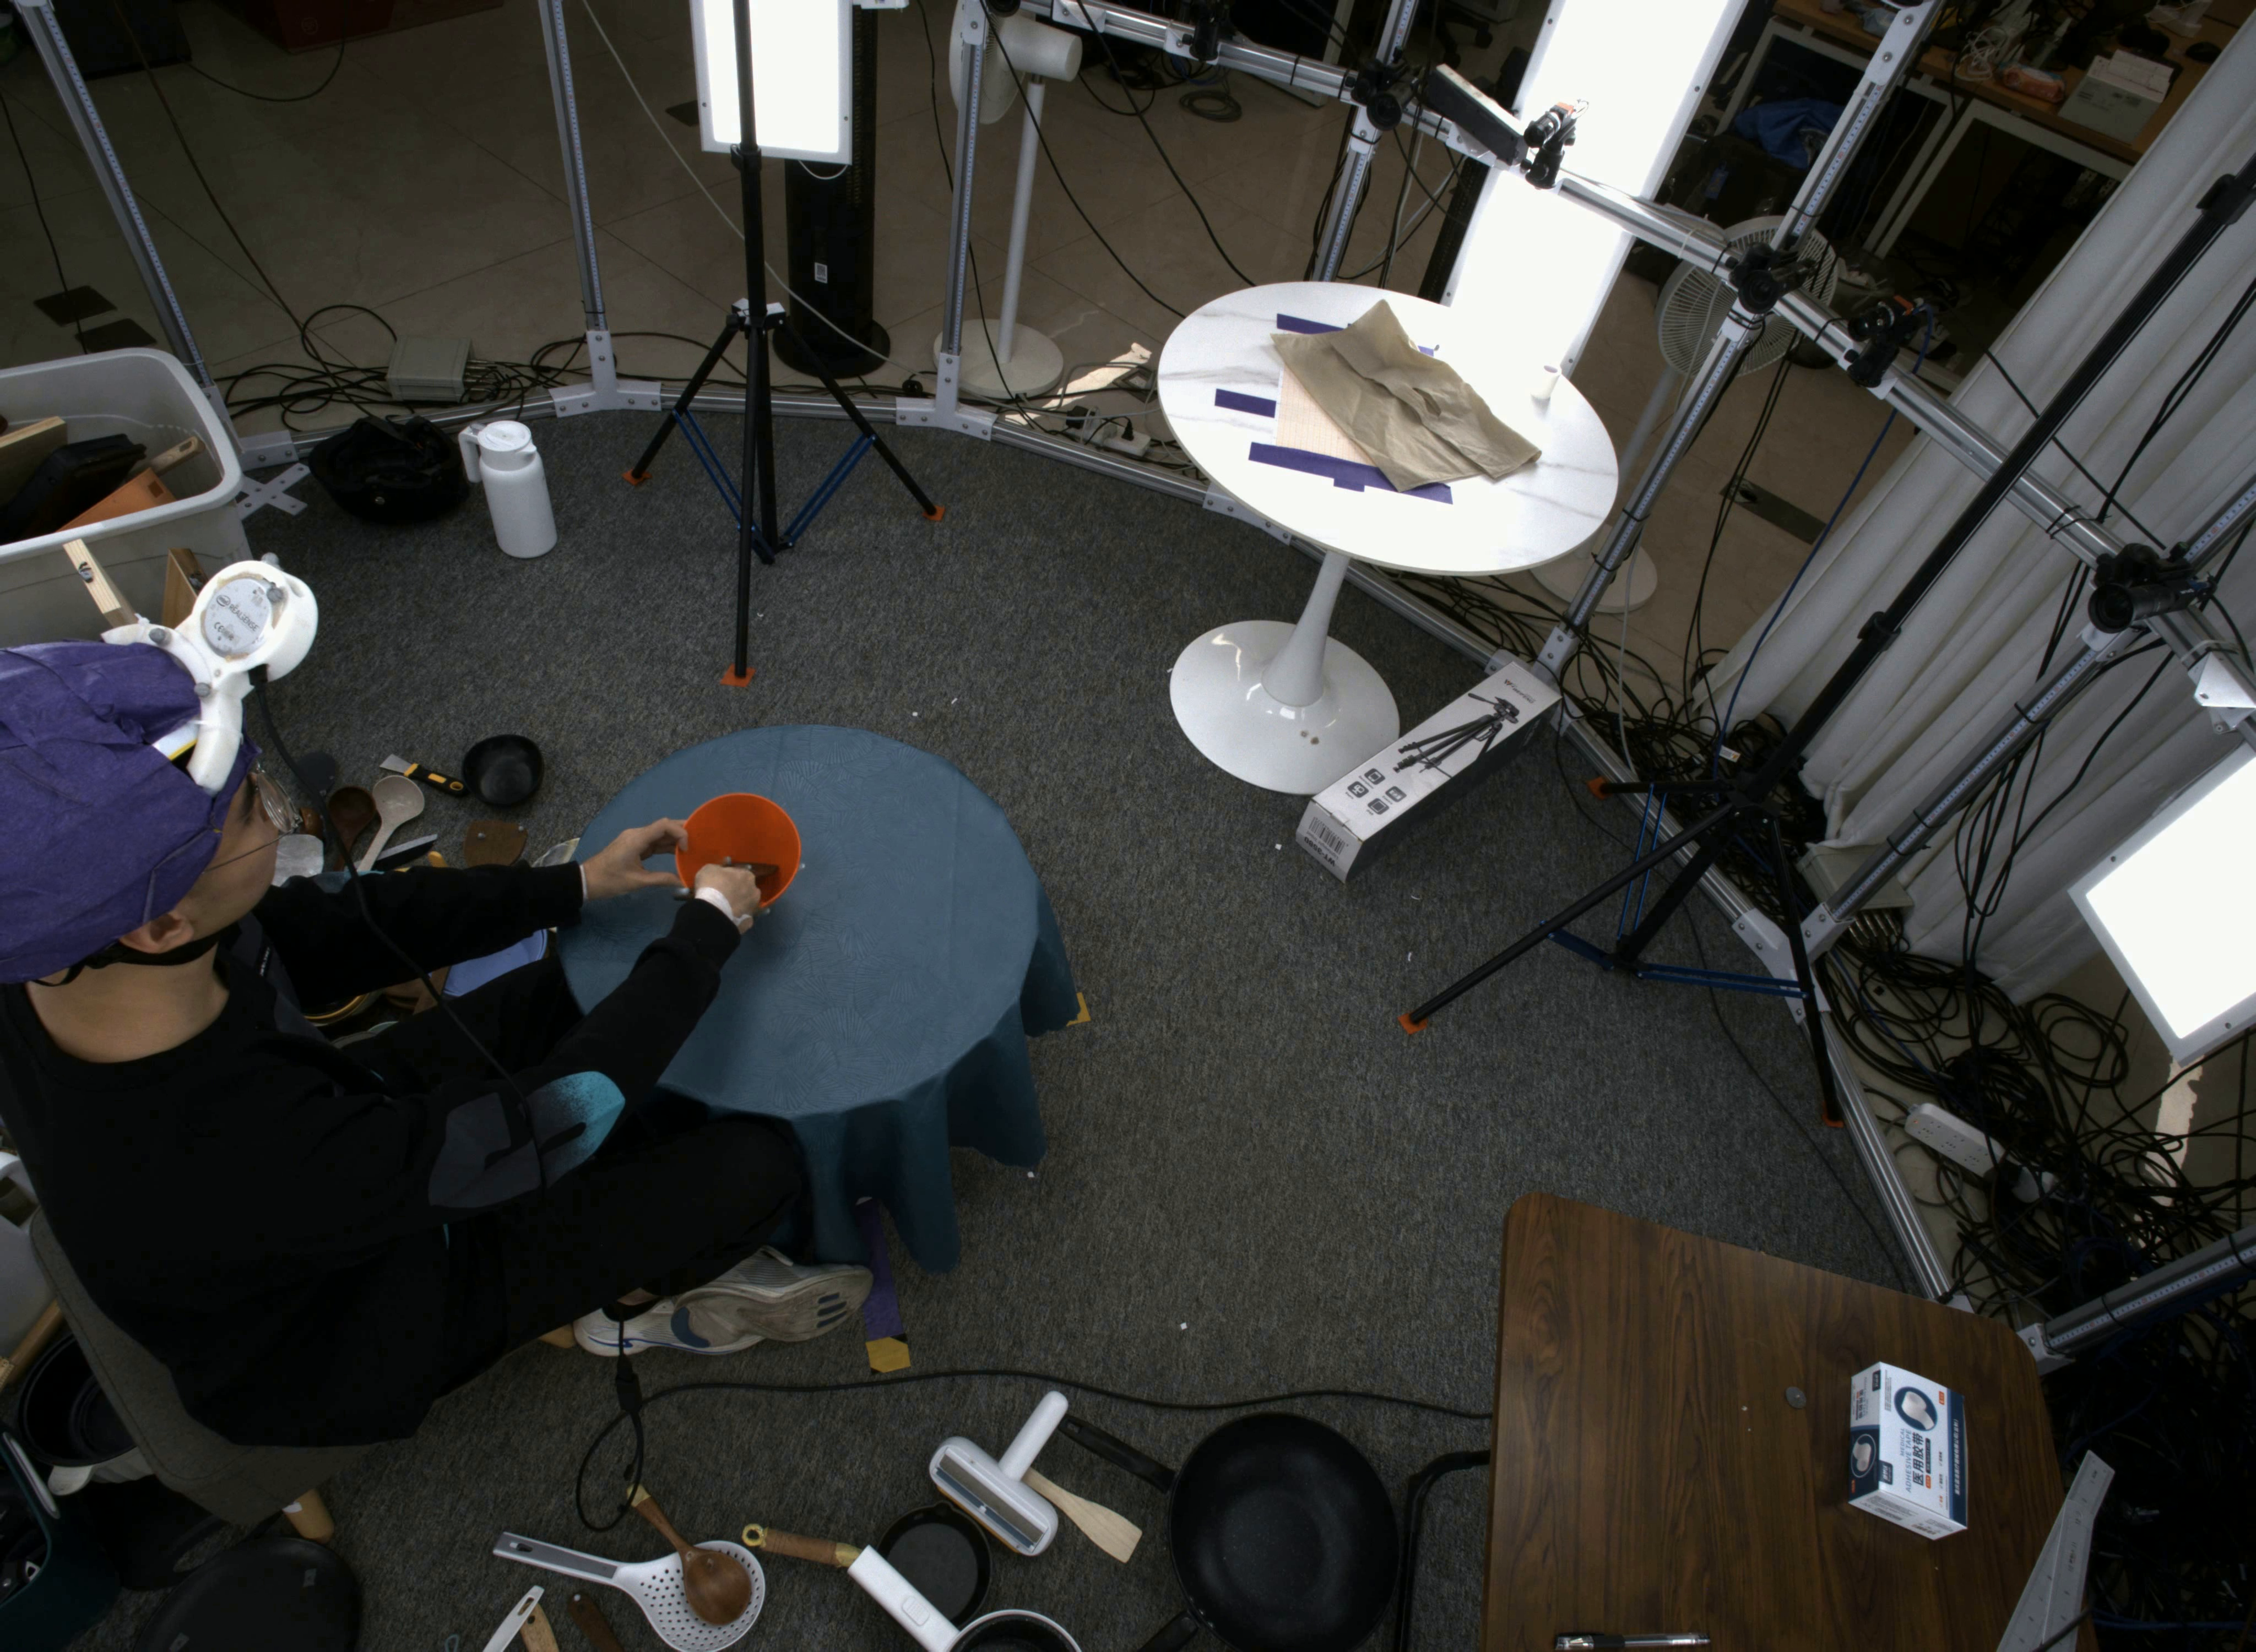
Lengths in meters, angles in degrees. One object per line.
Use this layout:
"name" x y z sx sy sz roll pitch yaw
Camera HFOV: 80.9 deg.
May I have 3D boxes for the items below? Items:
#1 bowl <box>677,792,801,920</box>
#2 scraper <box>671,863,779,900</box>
"bowl" -0.475 0.048 1.595 0.148 0.106 0.146 5 65 -9
"scraper" -0.484 0.064 1.530 0.074 0.011 0.211 5 8 6
